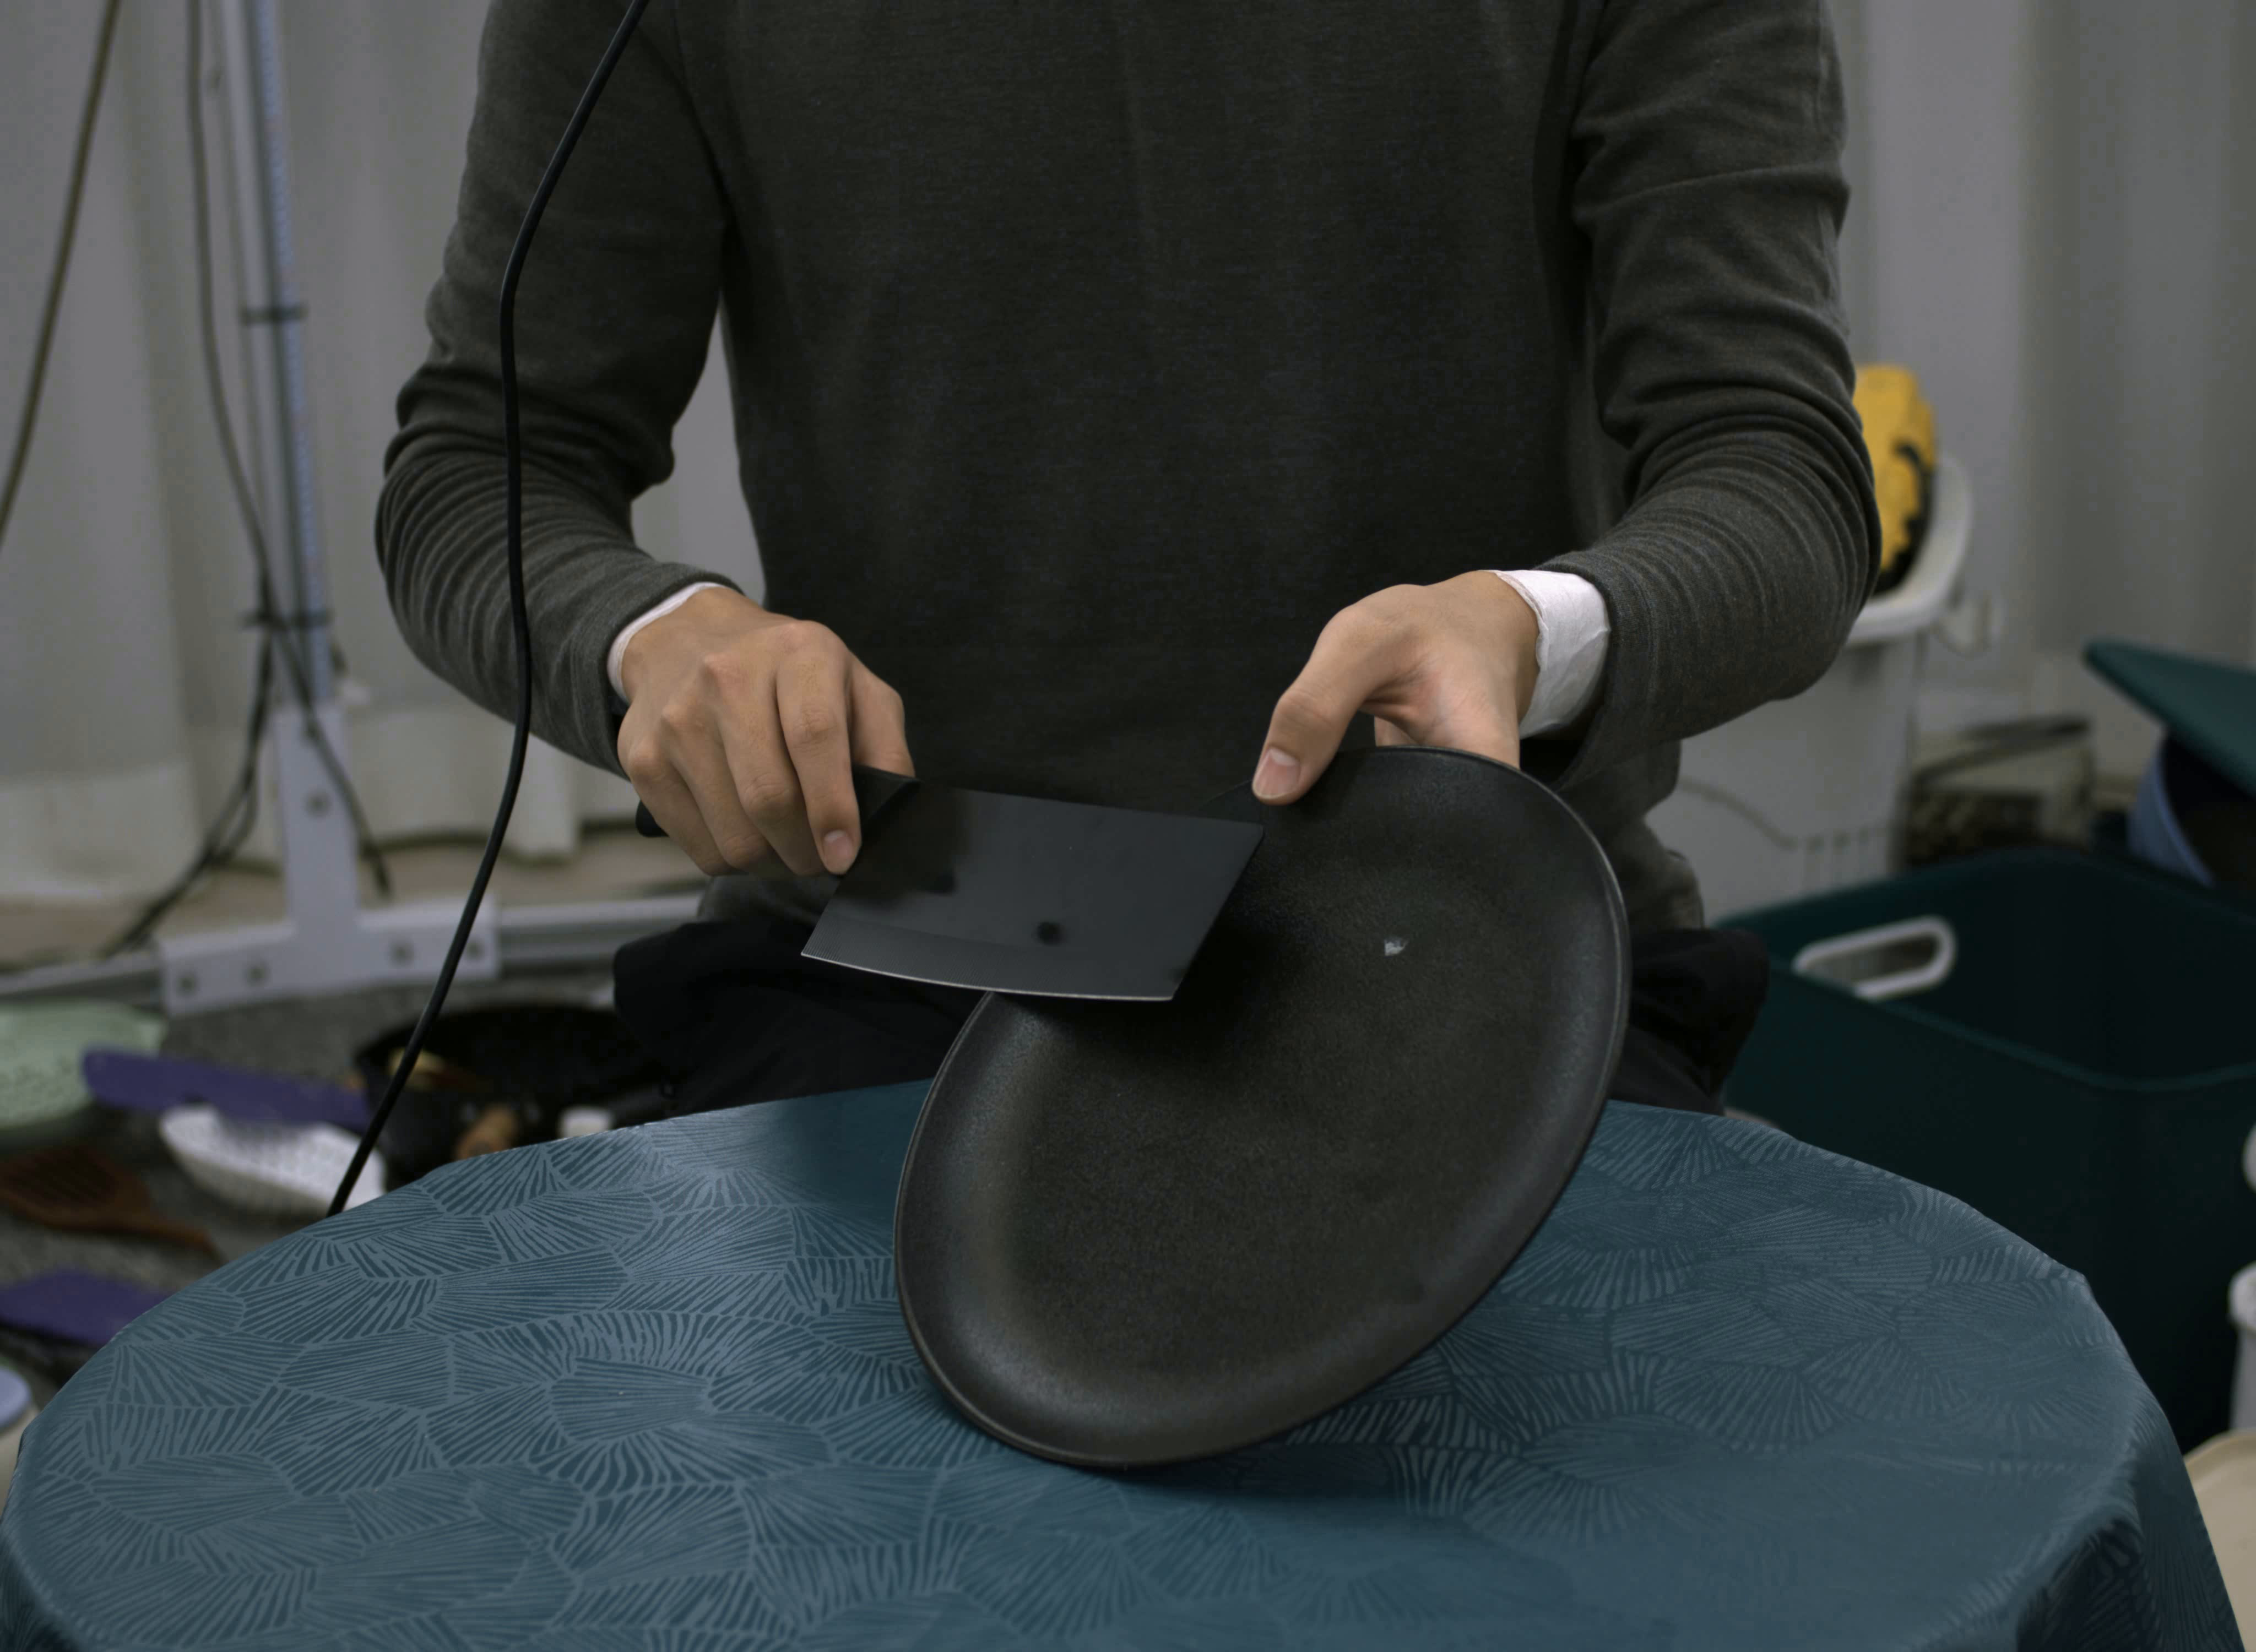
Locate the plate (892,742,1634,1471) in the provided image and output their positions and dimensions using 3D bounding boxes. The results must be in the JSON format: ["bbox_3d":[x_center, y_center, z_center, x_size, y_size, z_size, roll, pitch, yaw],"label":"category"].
[{"bbox_3d":[0.039,0.081,1.546,0.243,0.023,0.248,-23,42,22],"label":"plate"}]

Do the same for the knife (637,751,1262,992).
[{"bbox_3d":[-0.065,0.011,1.695,0.020,0.081,0.304,42,-17,-33],"label":"knife"}]
